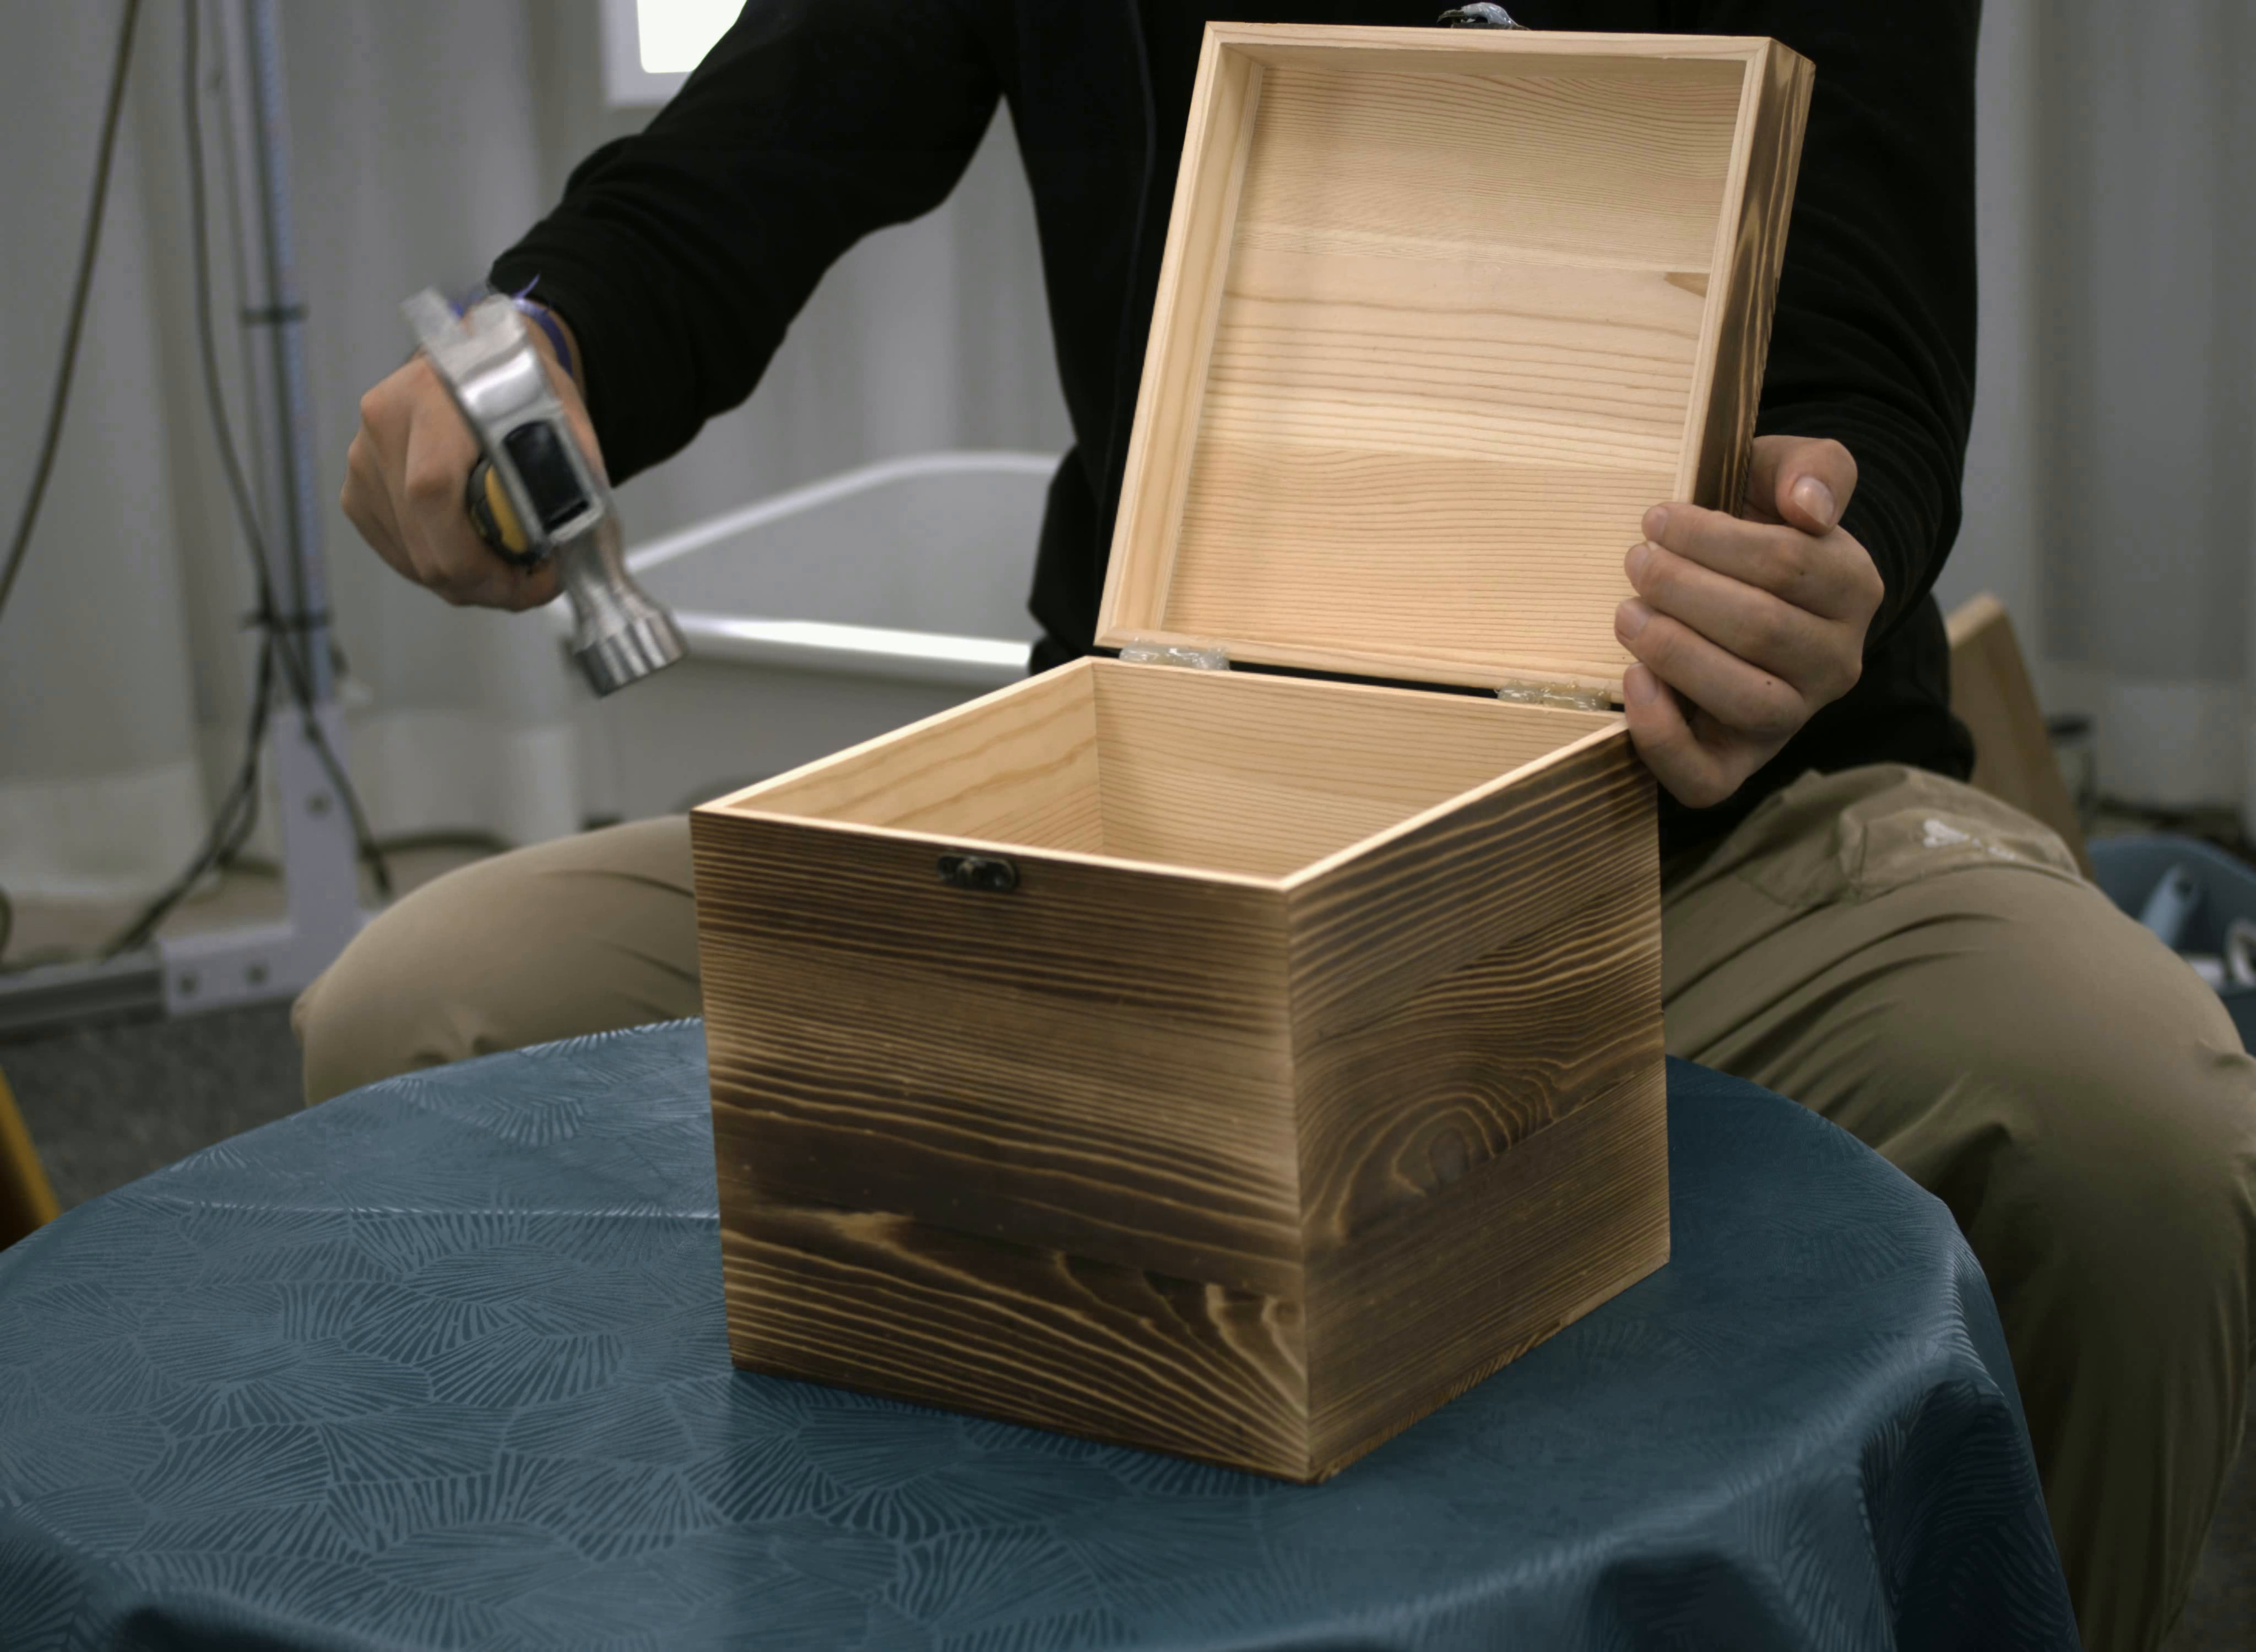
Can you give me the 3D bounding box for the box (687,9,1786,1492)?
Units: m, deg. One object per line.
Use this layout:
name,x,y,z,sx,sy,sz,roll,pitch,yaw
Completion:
box,0.042,-0.040,1.602,0.209,0.374,0.322,6,15,34

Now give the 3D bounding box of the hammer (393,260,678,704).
hammer,-0.187,-0.103,1.722,0.032,0.131,0.339,-26,4,-6
